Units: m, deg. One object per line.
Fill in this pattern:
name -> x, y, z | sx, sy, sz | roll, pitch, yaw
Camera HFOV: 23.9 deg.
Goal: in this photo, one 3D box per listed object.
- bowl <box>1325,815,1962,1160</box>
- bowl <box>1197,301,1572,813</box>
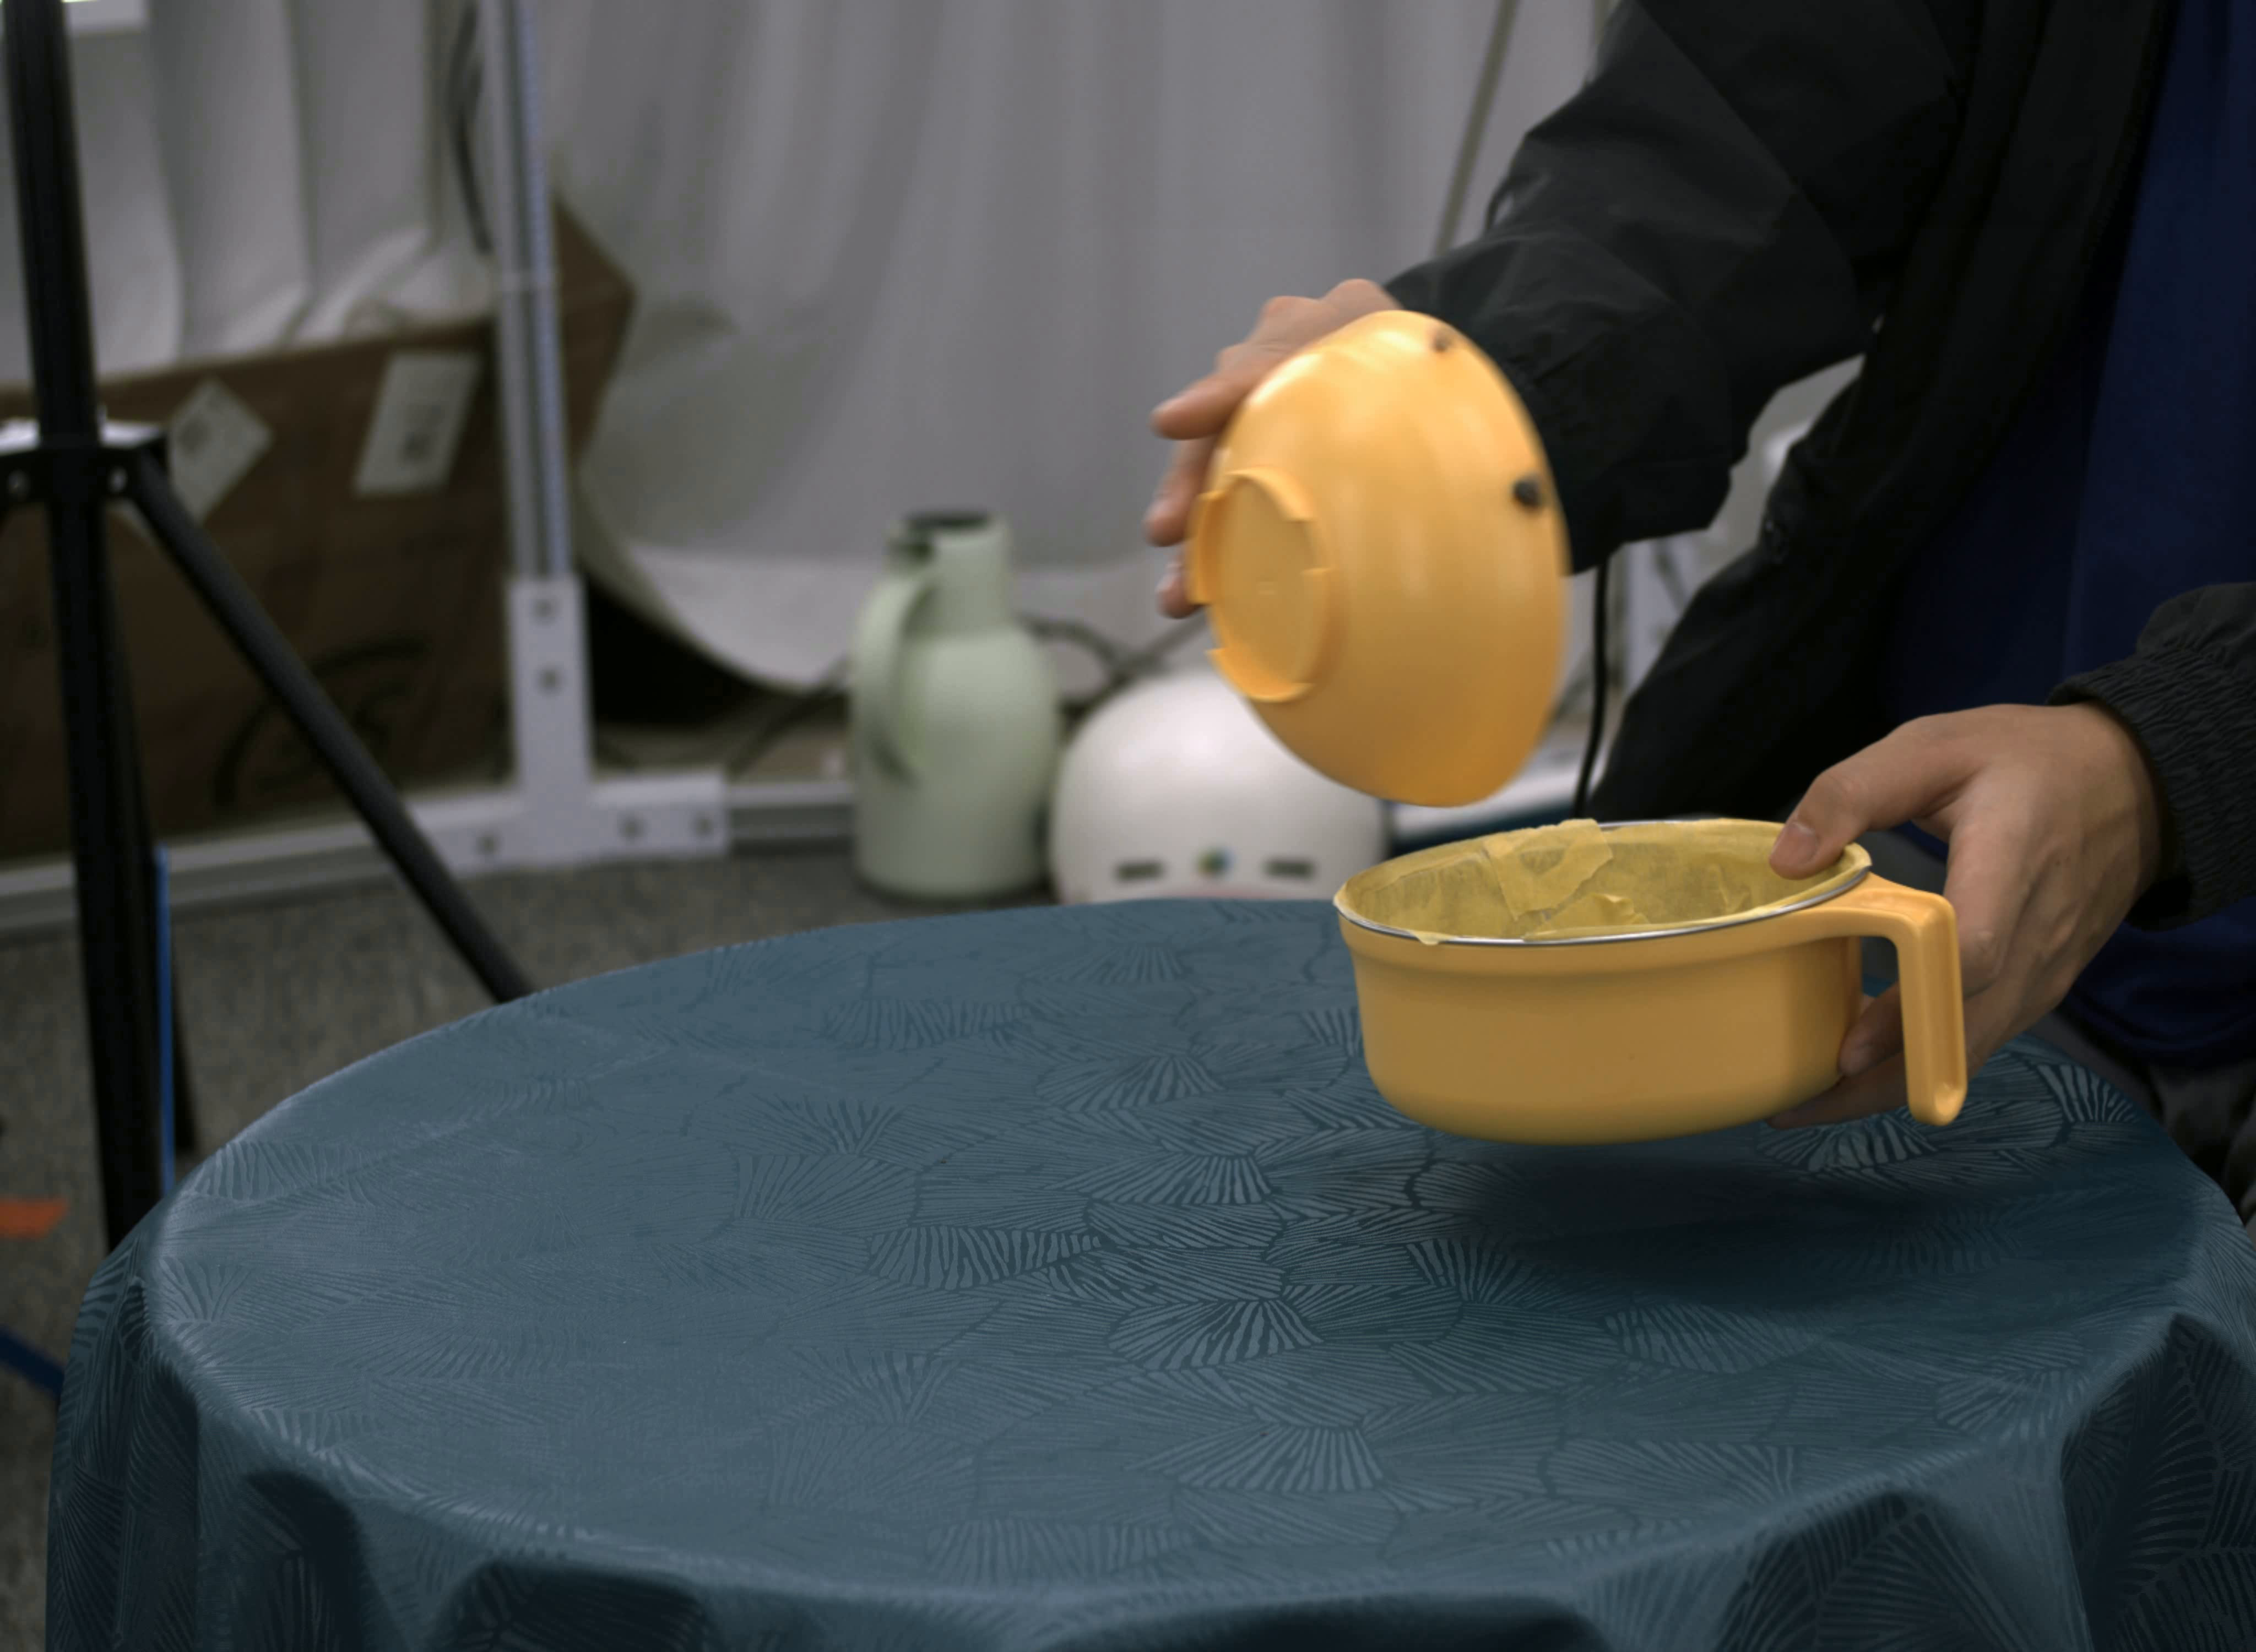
bowl -> 0.146, 0.048, 1.495 | 0.182, 0.074, 0.150 | 0, 11, 30
bowl -> 0.061, -0.073, 1.506 | 0.059, 0.145, 0.148 | -6, 16, -30
